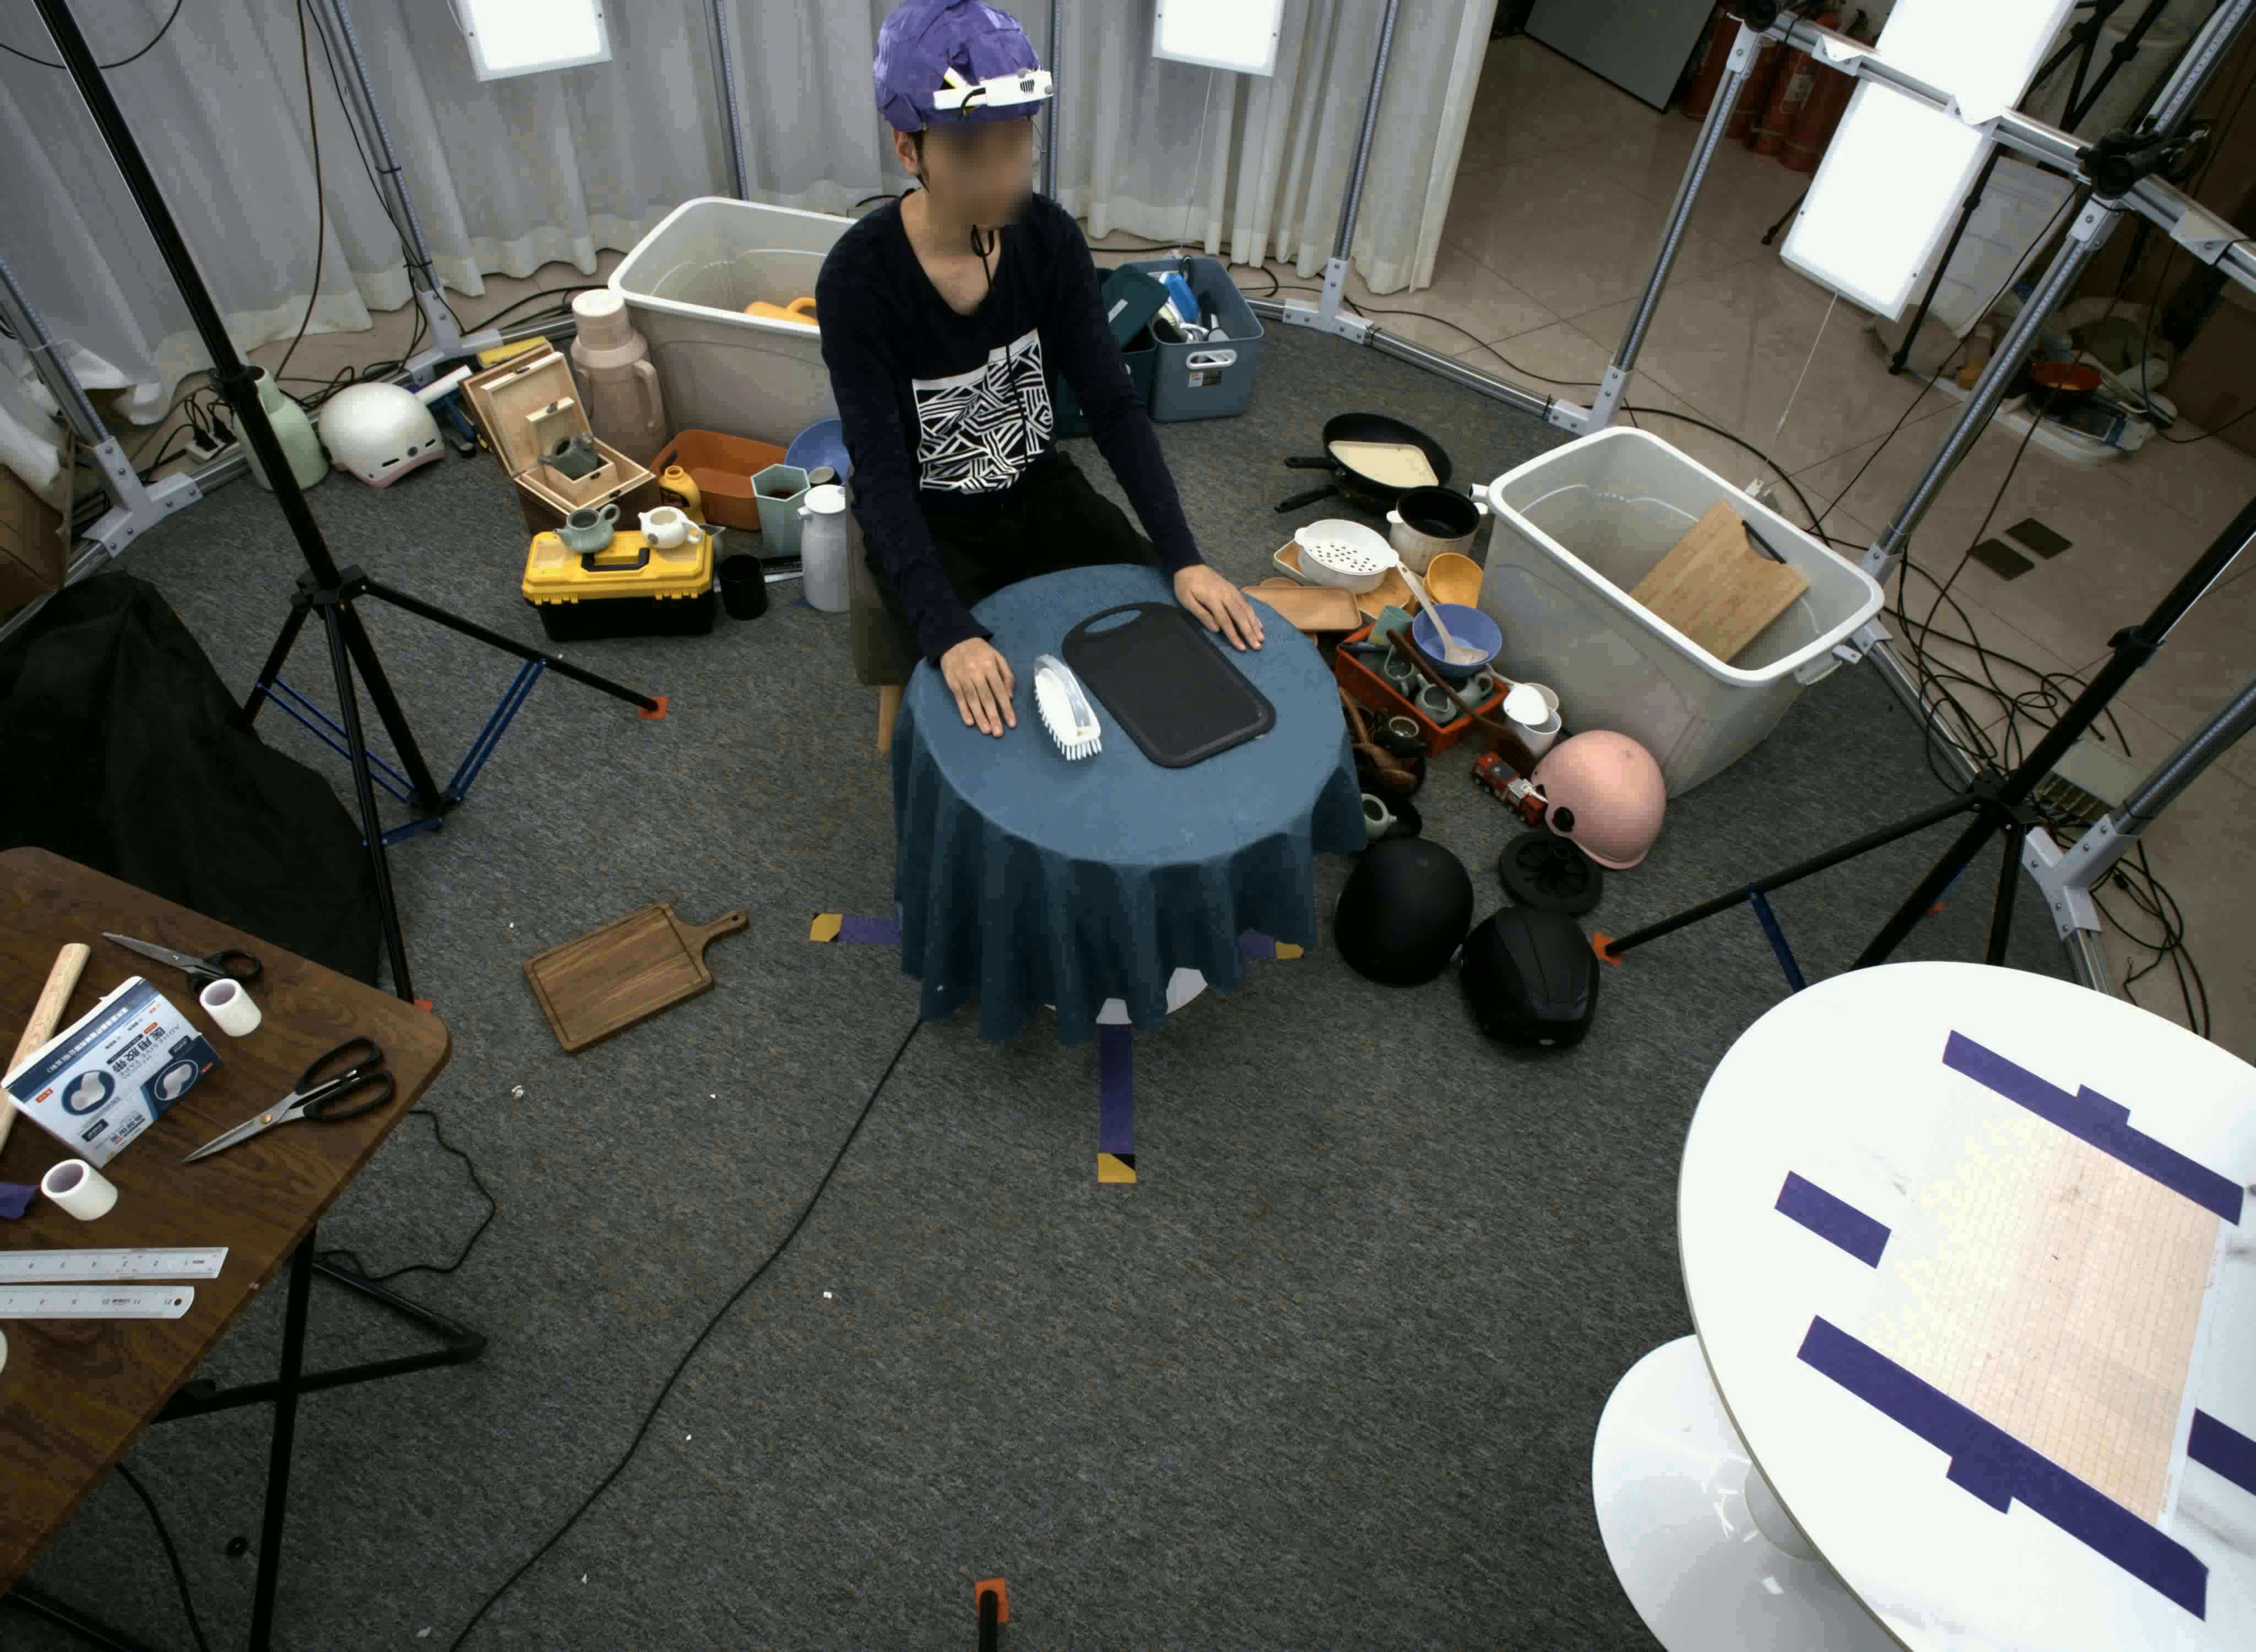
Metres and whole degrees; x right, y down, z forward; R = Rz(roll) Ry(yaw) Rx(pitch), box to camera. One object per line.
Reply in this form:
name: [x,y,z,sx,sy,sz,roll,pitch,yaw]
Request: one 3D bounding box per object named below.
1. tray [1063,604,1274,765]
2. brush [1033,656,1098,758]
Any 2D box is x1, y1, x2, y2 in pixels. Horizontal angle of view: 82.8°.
tray: [0.051,-0.216,1.854,0.212,0.009,0.332,-22,53,-21]
brush: [-0.094,-0.182,1.760,0.061,0.092,0.179,-16,49,-18]
